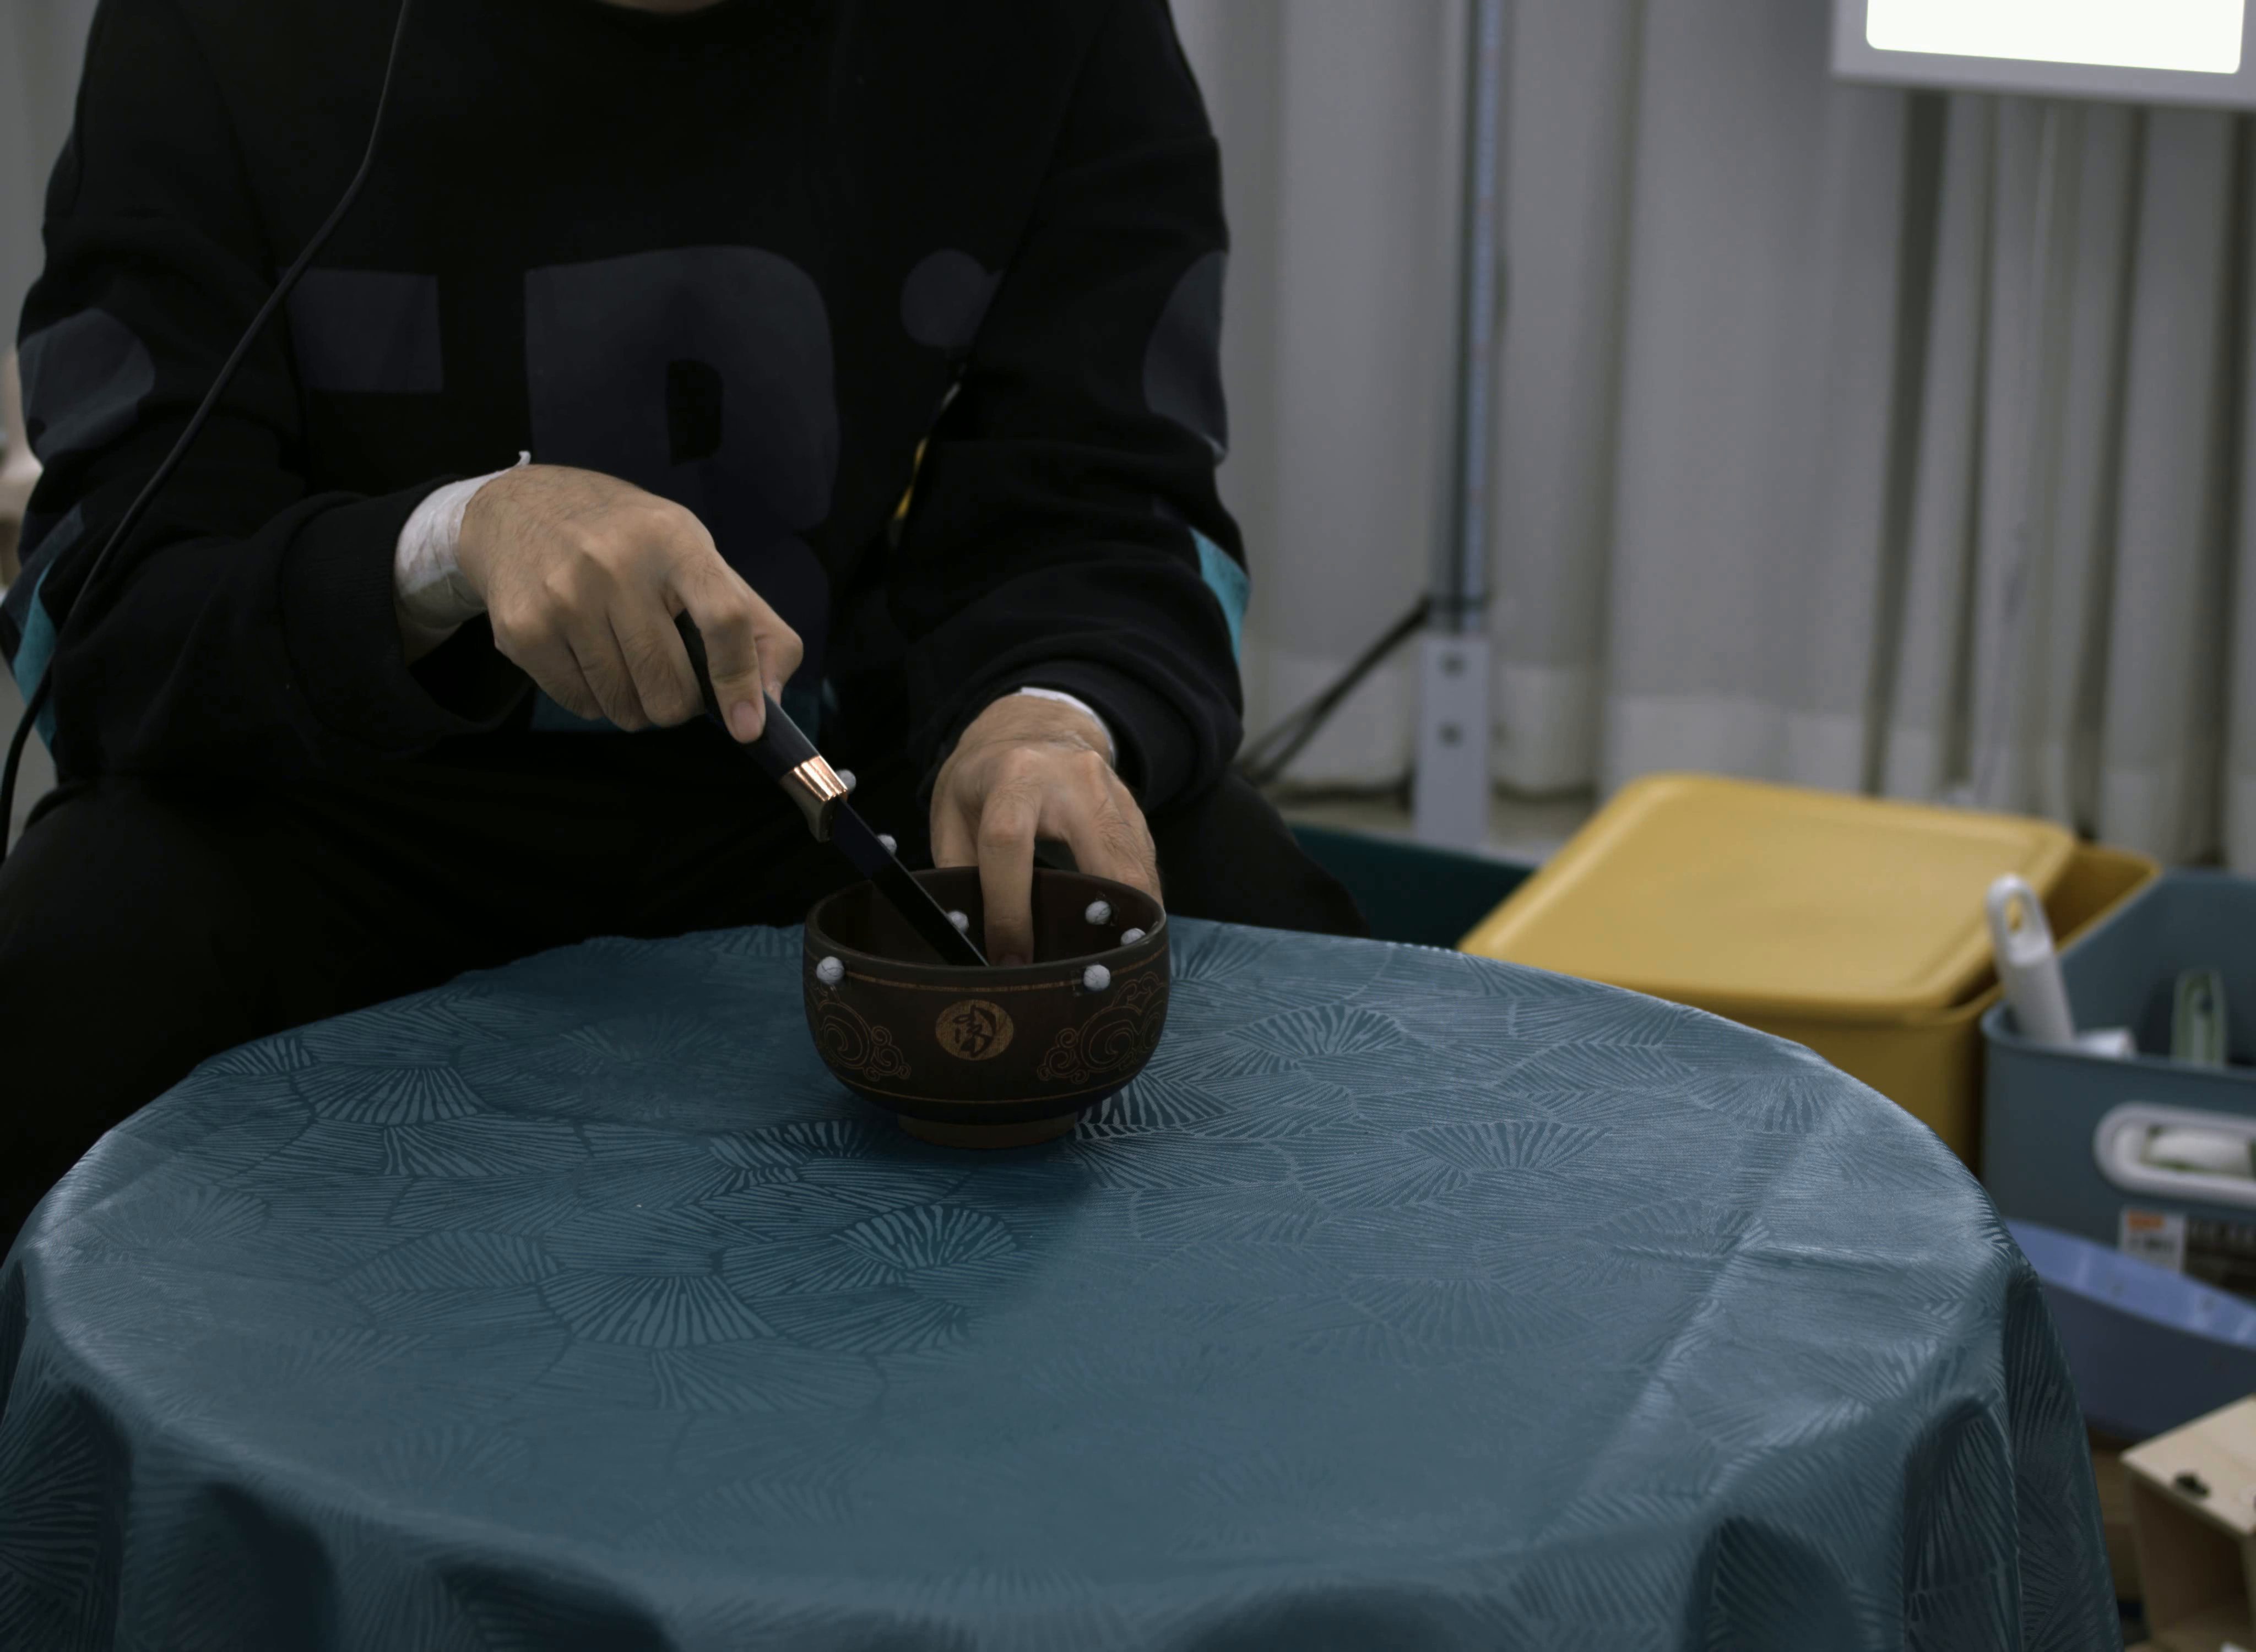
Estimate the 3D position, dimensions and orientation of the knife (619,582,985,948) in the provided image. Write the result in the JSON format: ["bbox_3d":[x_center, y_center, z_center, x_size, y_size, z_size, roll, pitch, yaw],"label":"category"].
[{"bbox_3d":[-0.090,-0.003,1.702,0.223,0.017,0.026,46,13,19],"label":"knife"}]

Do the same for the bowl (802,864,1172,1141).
[{"bbox_3d":[-0.045,0.059,1.672,0.117,0.070,0.117,1,14,0],"label":"bowl"}]
